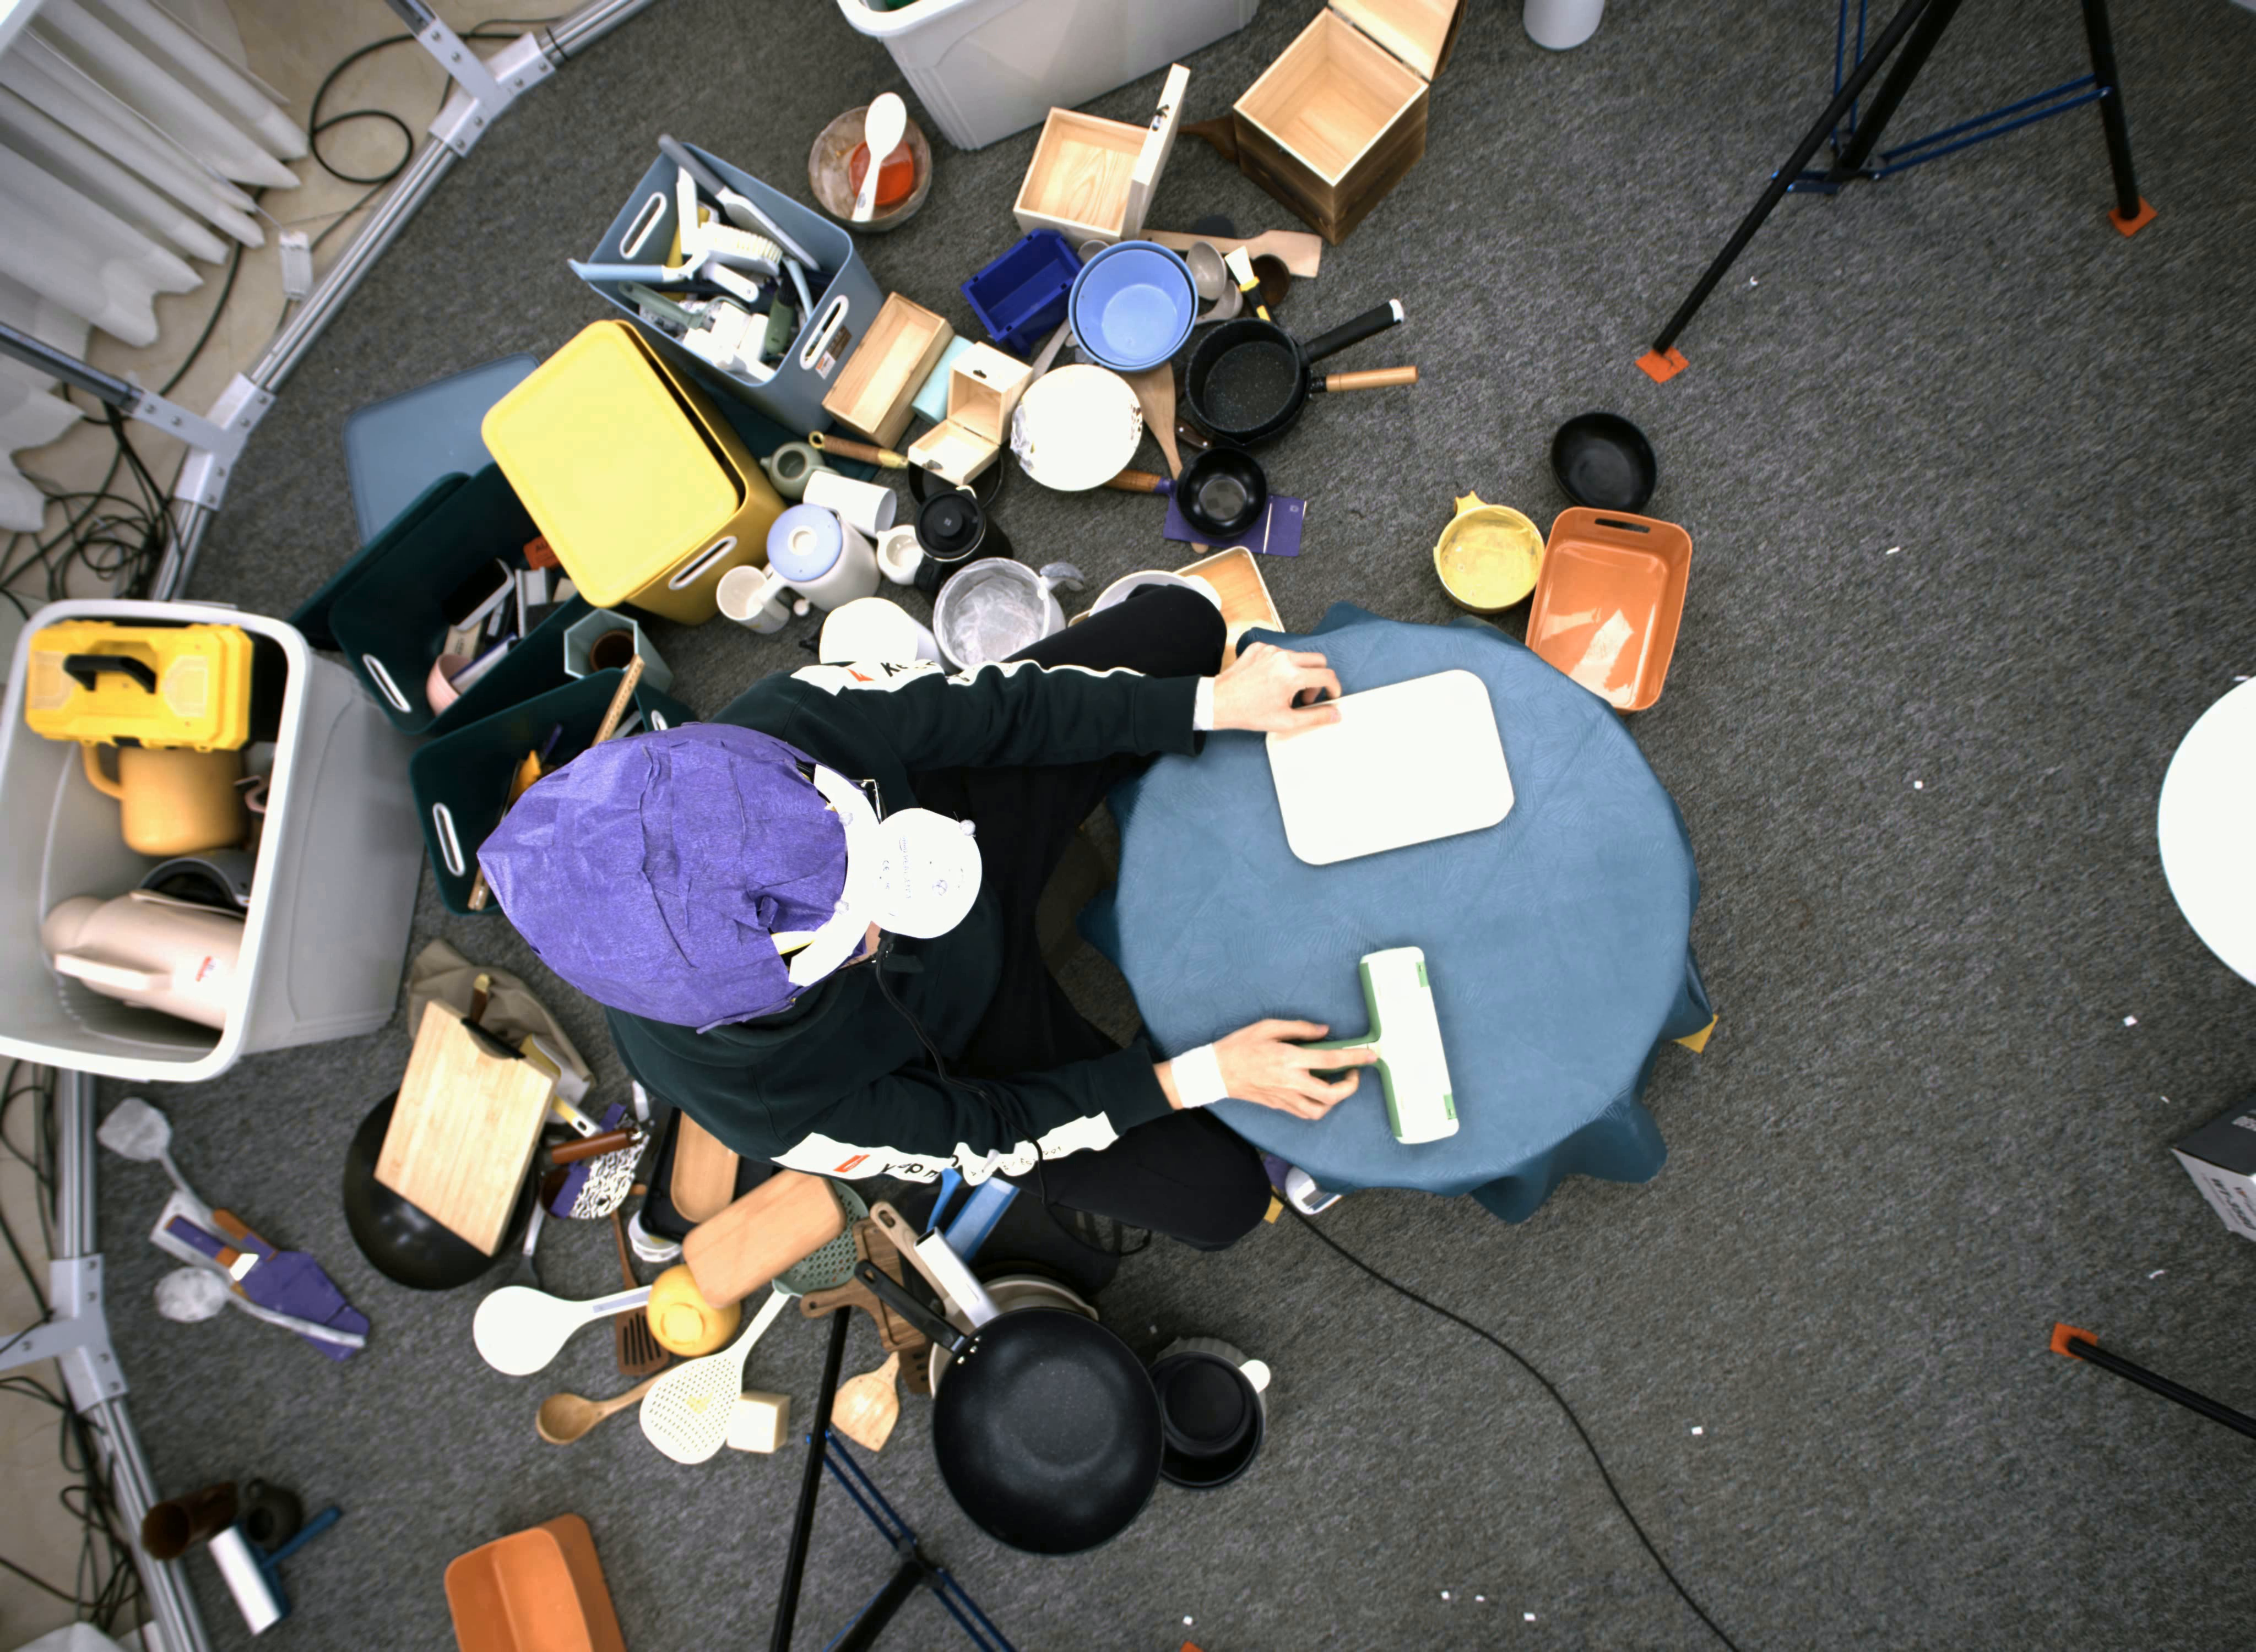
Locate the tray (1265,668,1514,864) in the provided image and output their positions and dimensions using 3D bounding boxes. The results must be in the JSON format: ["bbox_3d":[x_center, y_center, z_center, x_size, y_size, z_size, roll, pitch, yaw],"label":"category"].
[{"bbox_3d":[0.274,-0.064,1.452,0.241,0.017,0.170,-14,84,9],"label":"tray"}]

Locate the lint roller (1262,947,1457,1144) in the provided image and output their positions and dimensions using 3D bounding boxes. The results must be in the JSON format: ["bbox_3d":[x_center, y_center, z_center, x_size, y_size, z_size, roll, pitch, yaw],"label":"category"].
[{"bbox_3d":[0.228,0.233,1.416,0.184,0.082,0.197,-11,85,5],"label":"lint roller"}]
